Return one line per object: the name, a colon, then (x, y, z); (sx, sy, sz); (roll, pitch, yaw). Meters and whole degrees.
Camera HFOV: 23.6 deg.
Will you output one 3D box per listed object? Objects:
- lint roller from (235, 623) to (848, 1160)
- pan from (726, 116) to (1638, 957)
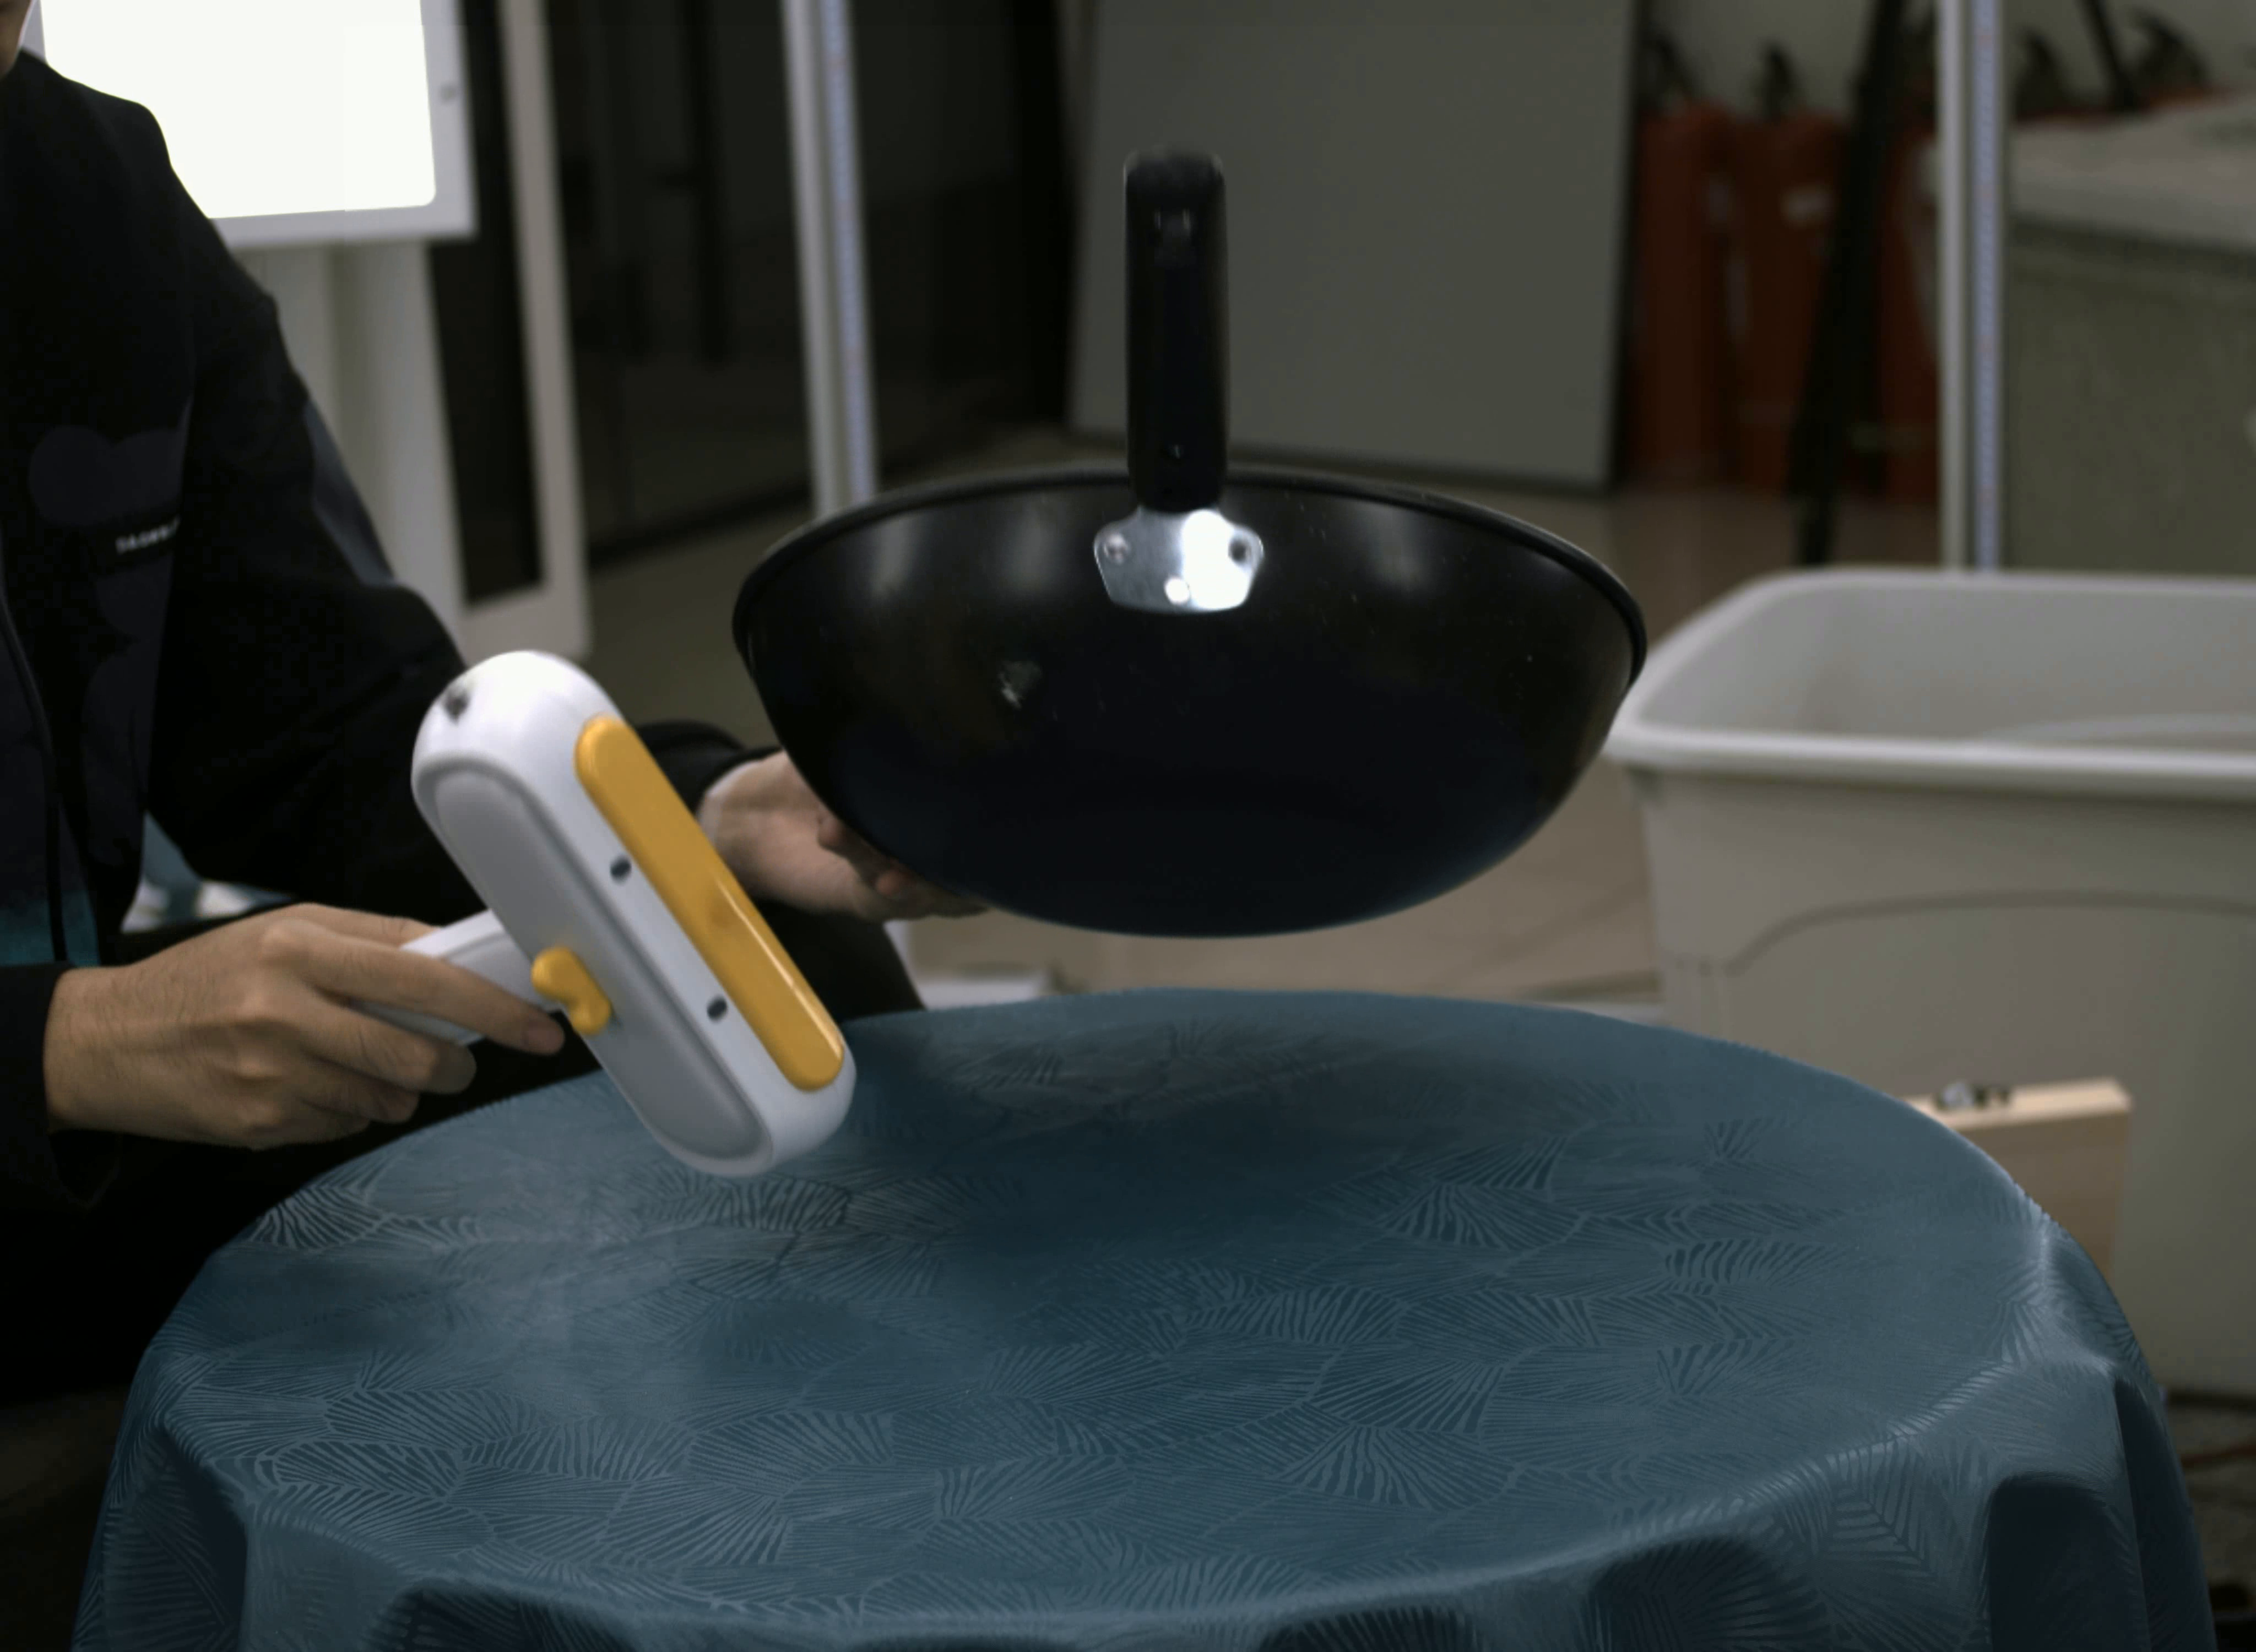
lint roller: (-0.205, 0.043, 1.723); (0.194, 0.192, 0.074); (-21, 28, 37)
pan: (0.015, -0.064, 1.727); (0.306, 0.113, 0.476); (0, -21, 2)
